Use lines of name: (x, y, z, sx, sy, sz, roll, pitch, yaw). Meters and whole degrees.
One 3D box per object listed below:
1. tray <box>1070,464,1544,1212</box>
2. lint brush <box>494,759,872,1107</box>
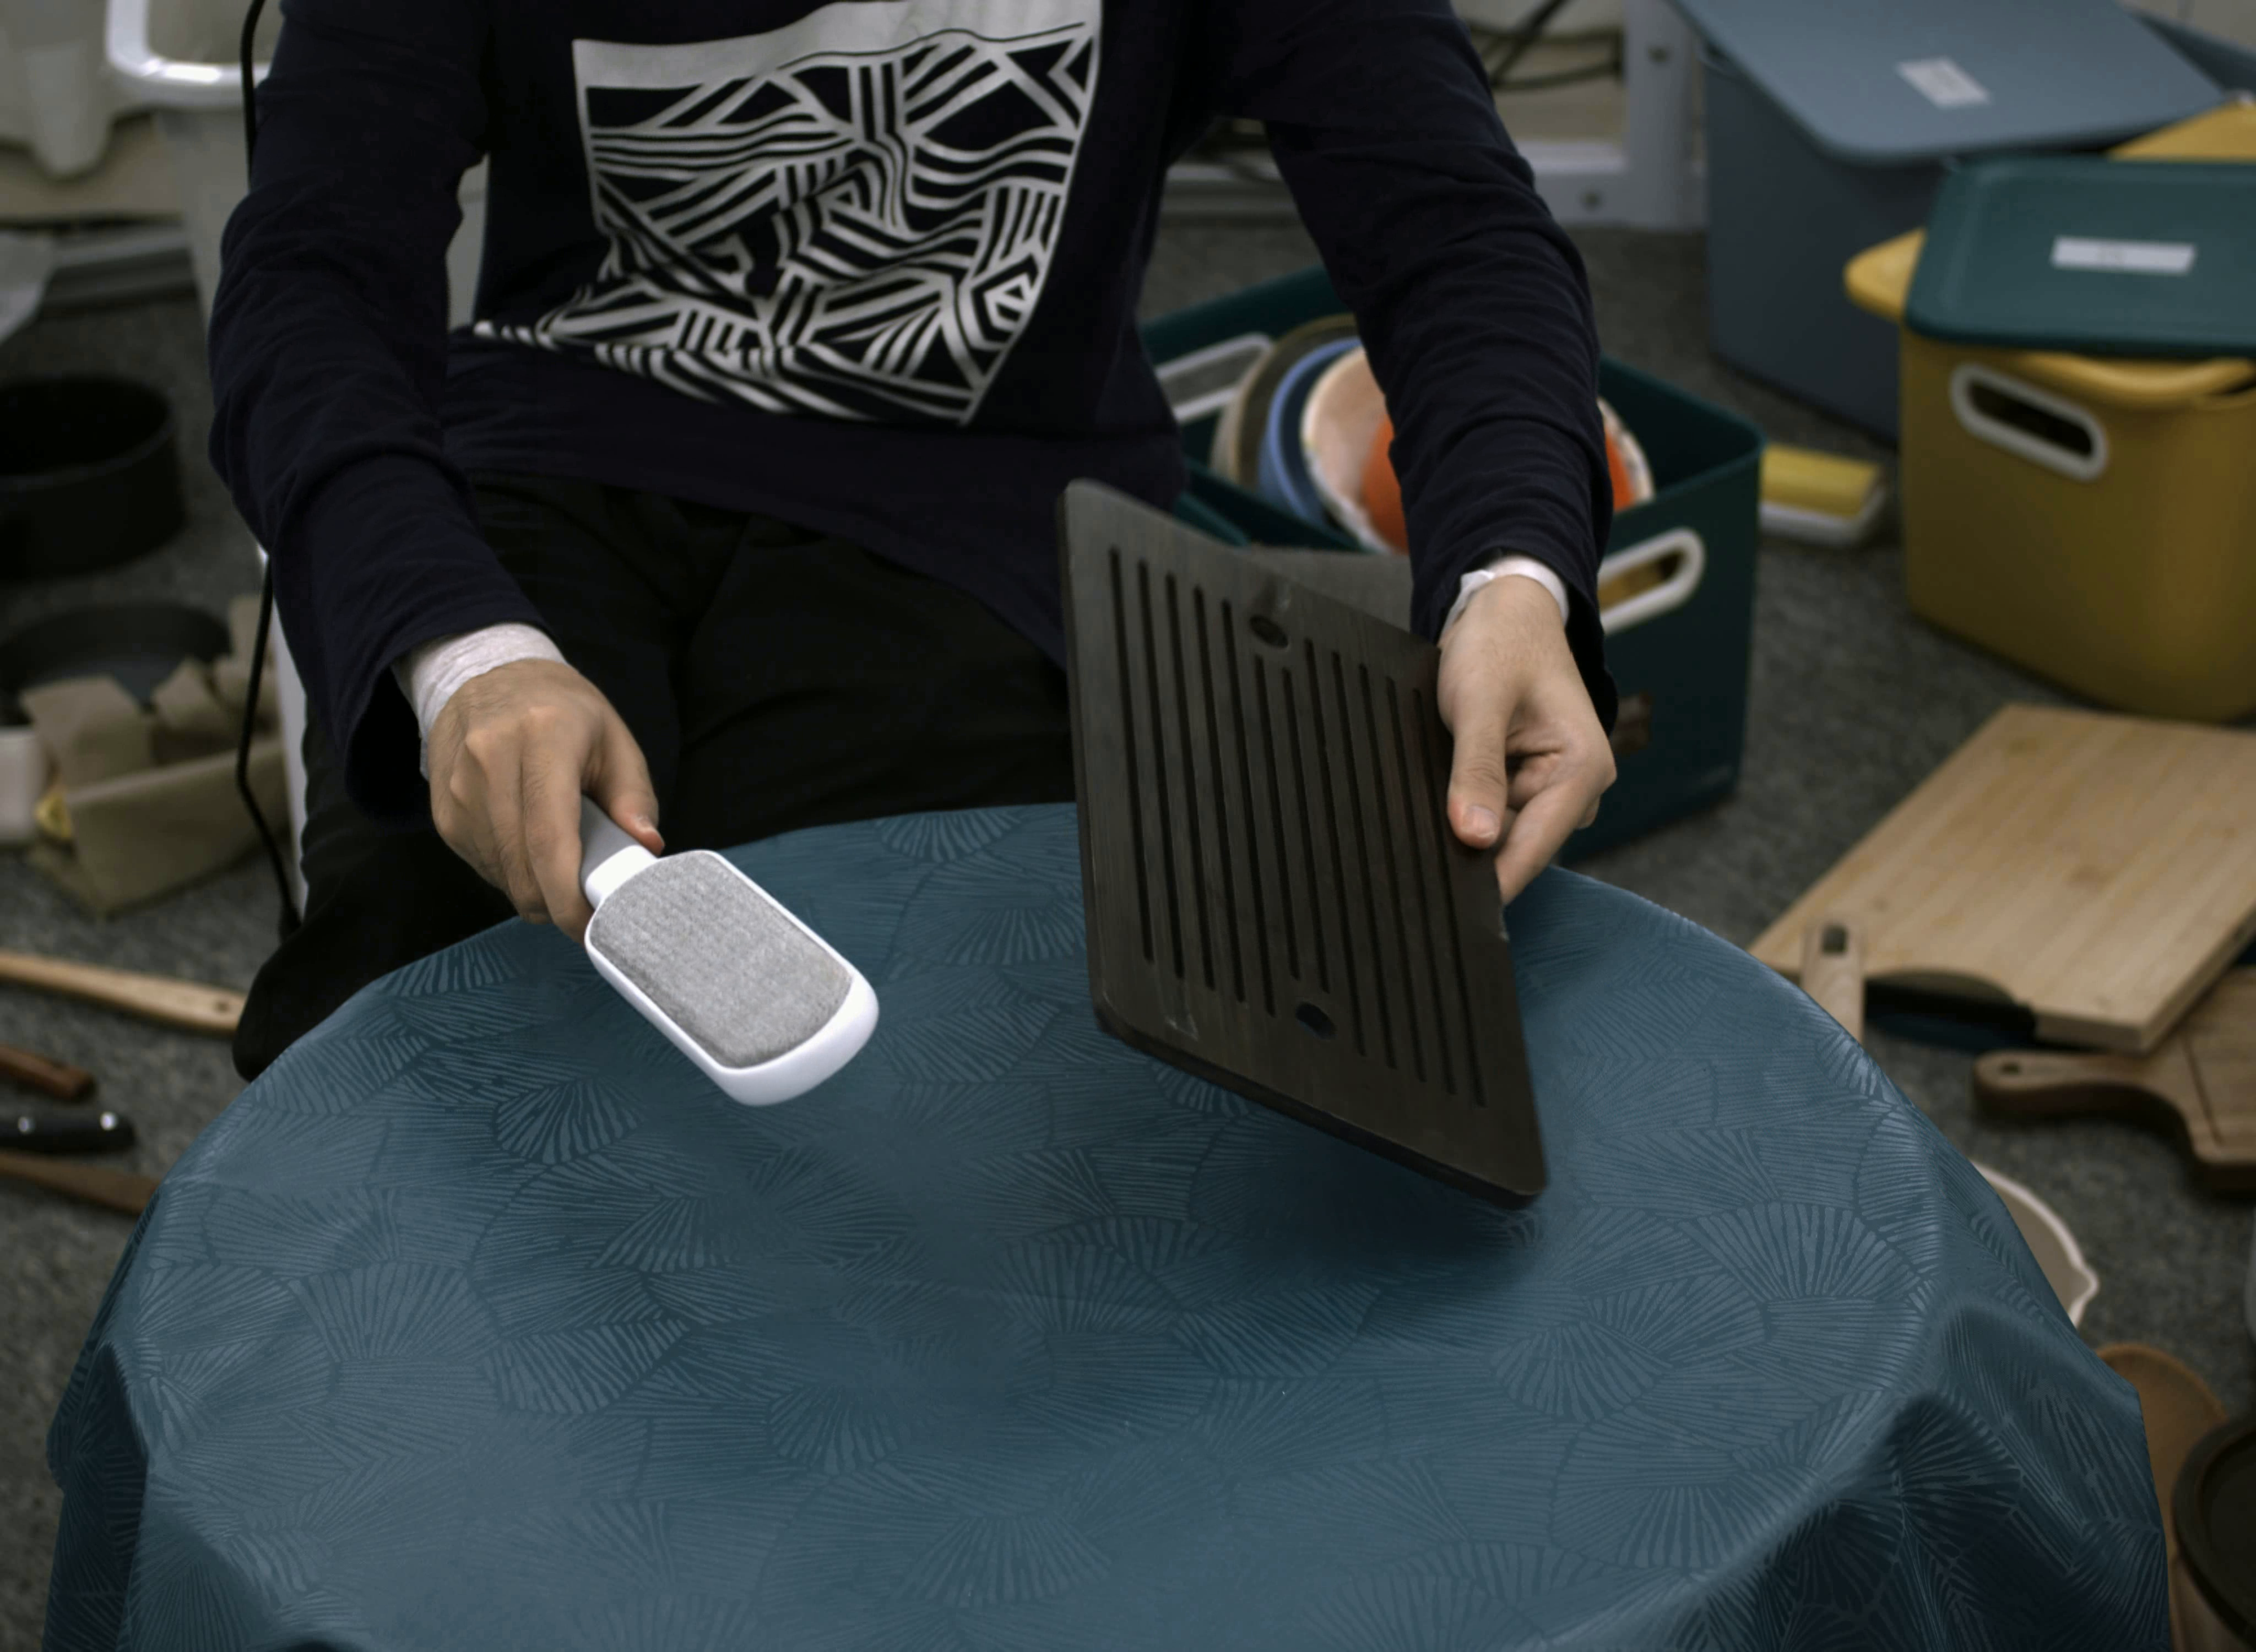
tray: (0.054, 0.001, 1.908, 0.169, 0.018, 0.311, 26, 32, -21)
lint brush: (-0.154, 0.028, 1.861, 0.060, 0.021, 0.310, -40, 28, -8)
